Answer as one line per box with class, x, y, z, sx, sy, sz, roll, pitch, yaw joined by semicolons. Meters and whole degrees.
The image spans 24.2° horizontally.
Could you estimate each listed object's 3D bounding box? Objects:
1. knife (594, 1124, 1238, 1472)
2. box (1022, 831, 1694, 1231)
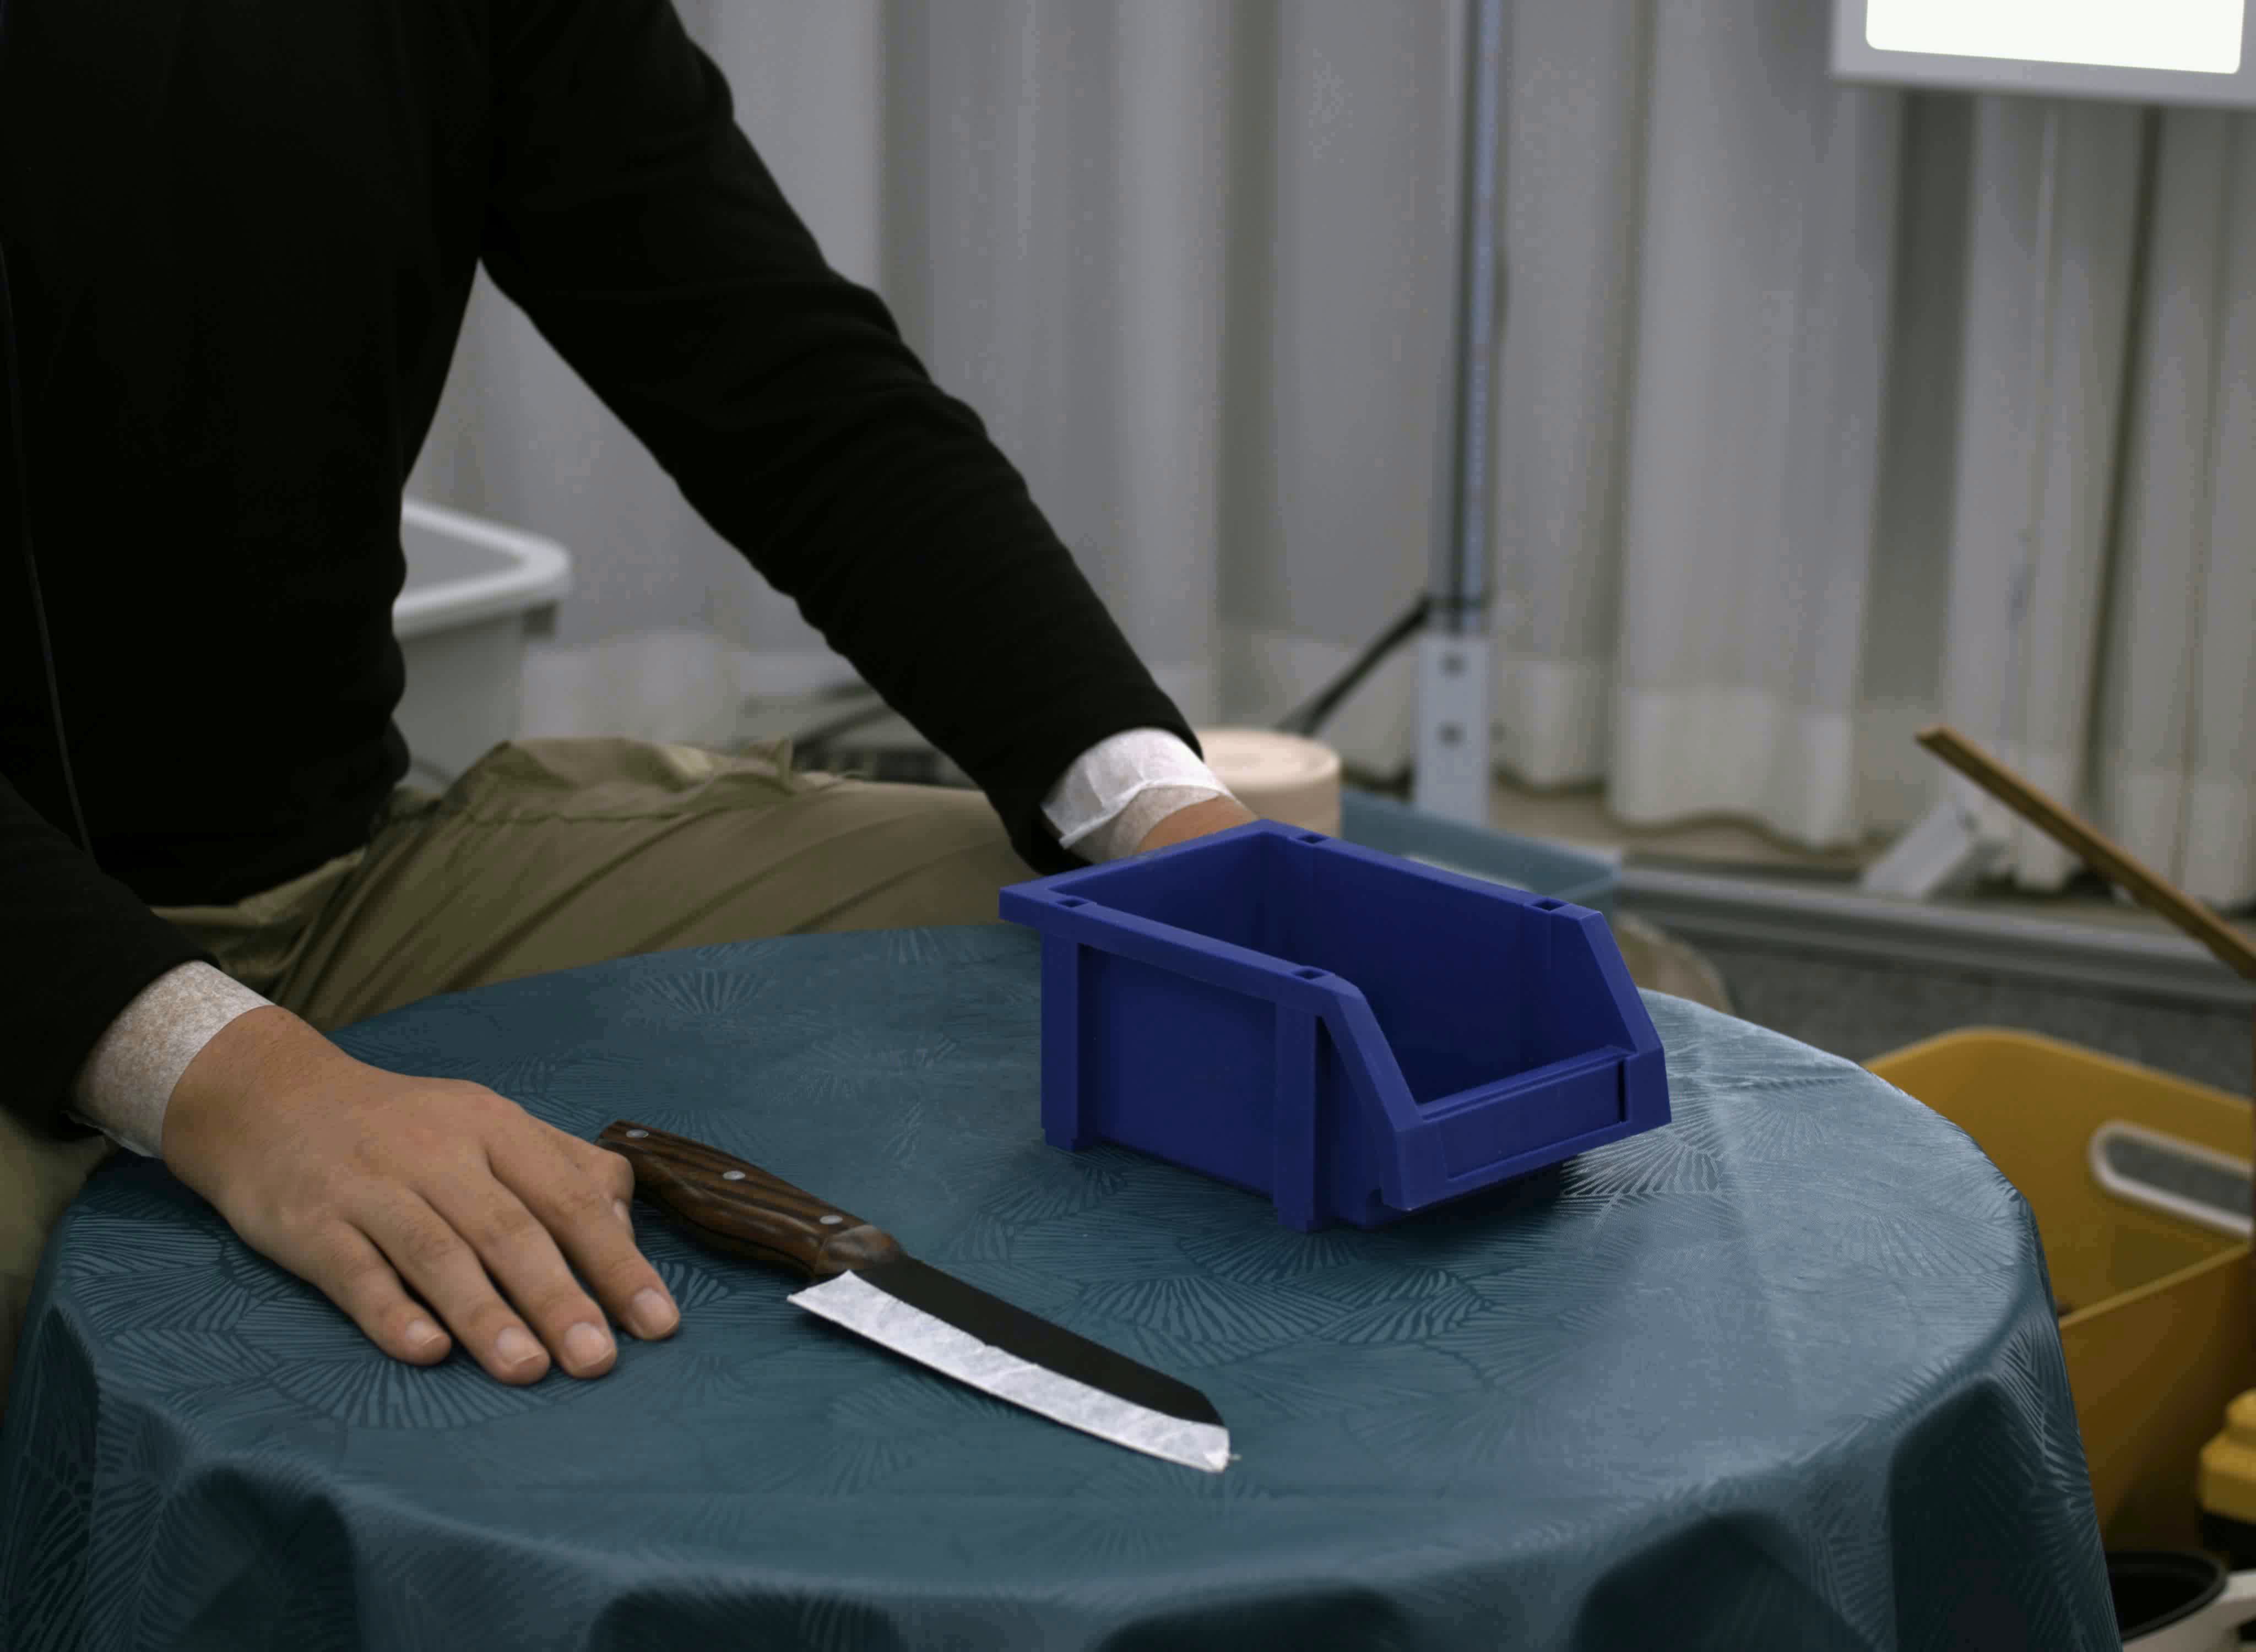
knife;-0.065;0.135;1.508;0.050;0.020;0.285;-18;26;-37
box;0.072;0.065;1.642;0.125;0.082;0.177;-13;18;-41
